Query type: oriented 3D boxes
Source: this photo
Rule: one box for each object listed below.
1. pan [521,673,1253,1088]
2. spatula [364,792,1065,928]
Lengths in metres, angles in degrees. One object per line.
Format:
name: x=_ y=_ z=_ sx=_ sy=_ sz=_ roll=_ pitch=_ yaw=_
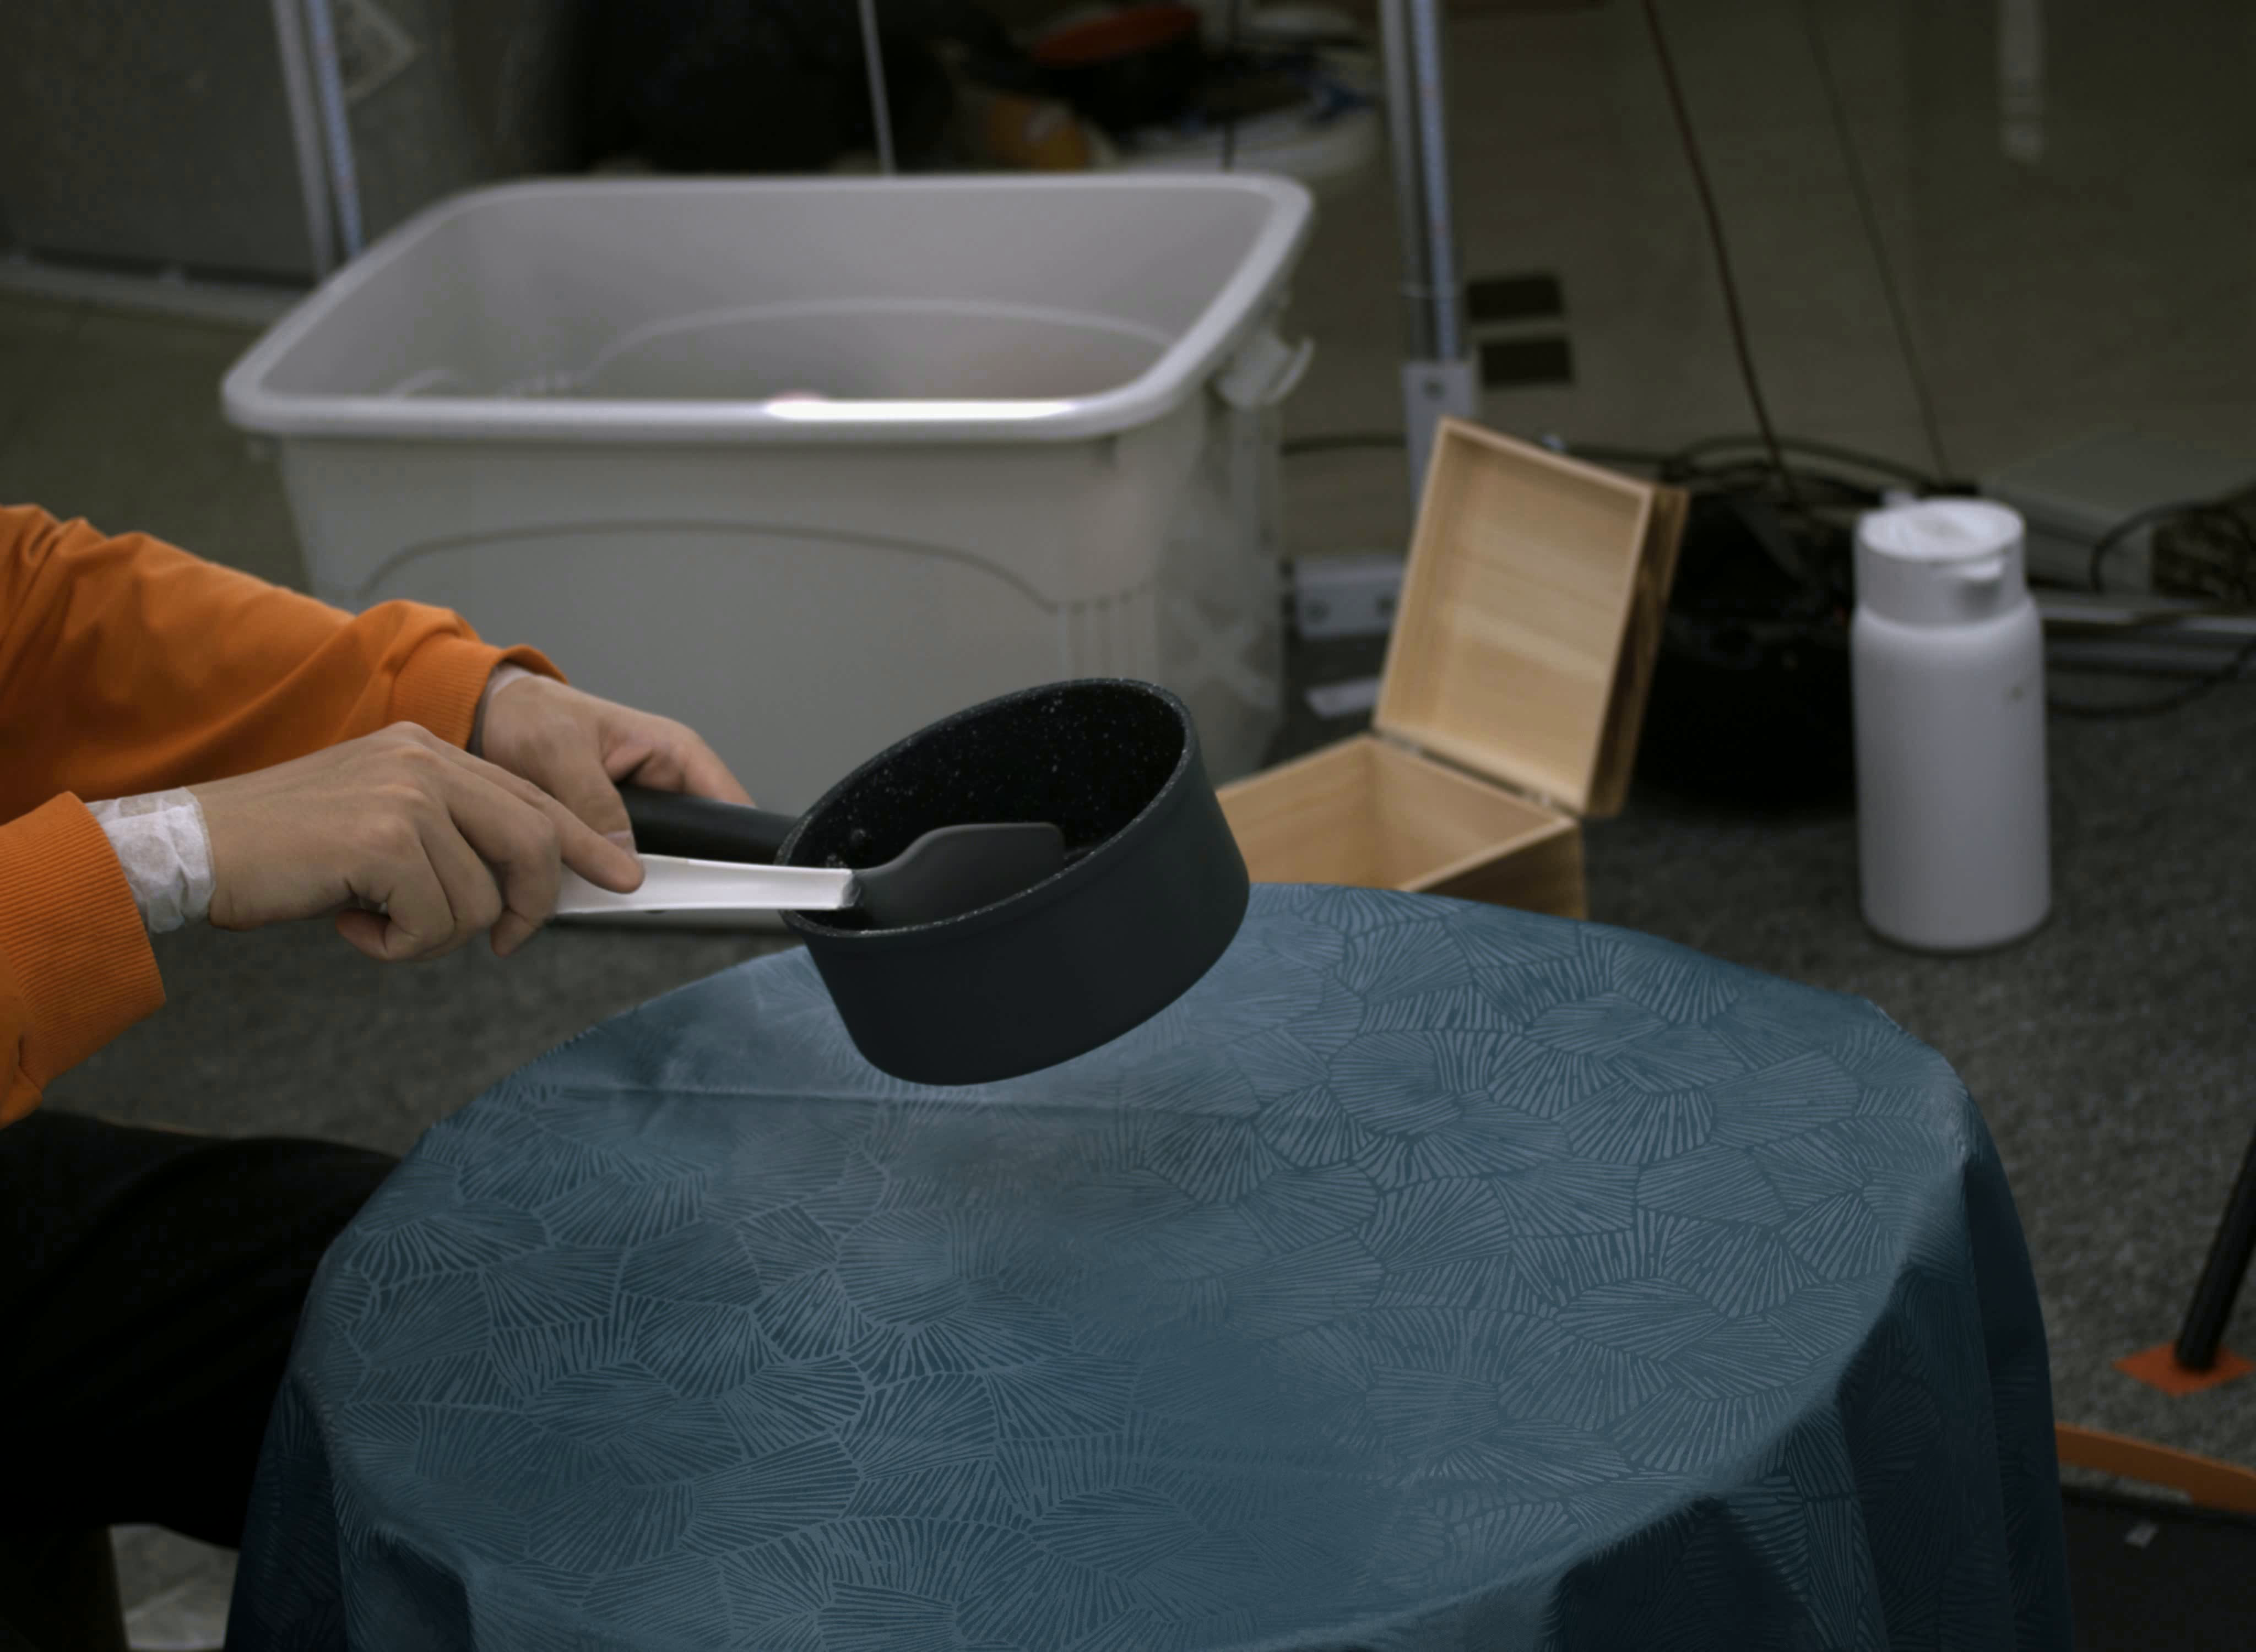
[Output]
pan: x=-0.101 y=0.018 z=2.176 sx=0.328 sy=0.088 sz=0.170 roll=3 pitch=37 yaw=41
spatula: x=-0.141 y=0.018 z=2.068 sx=0.287 sy=0.059 sz=0.032 roll=-1 pitch=0 yaw=-32
